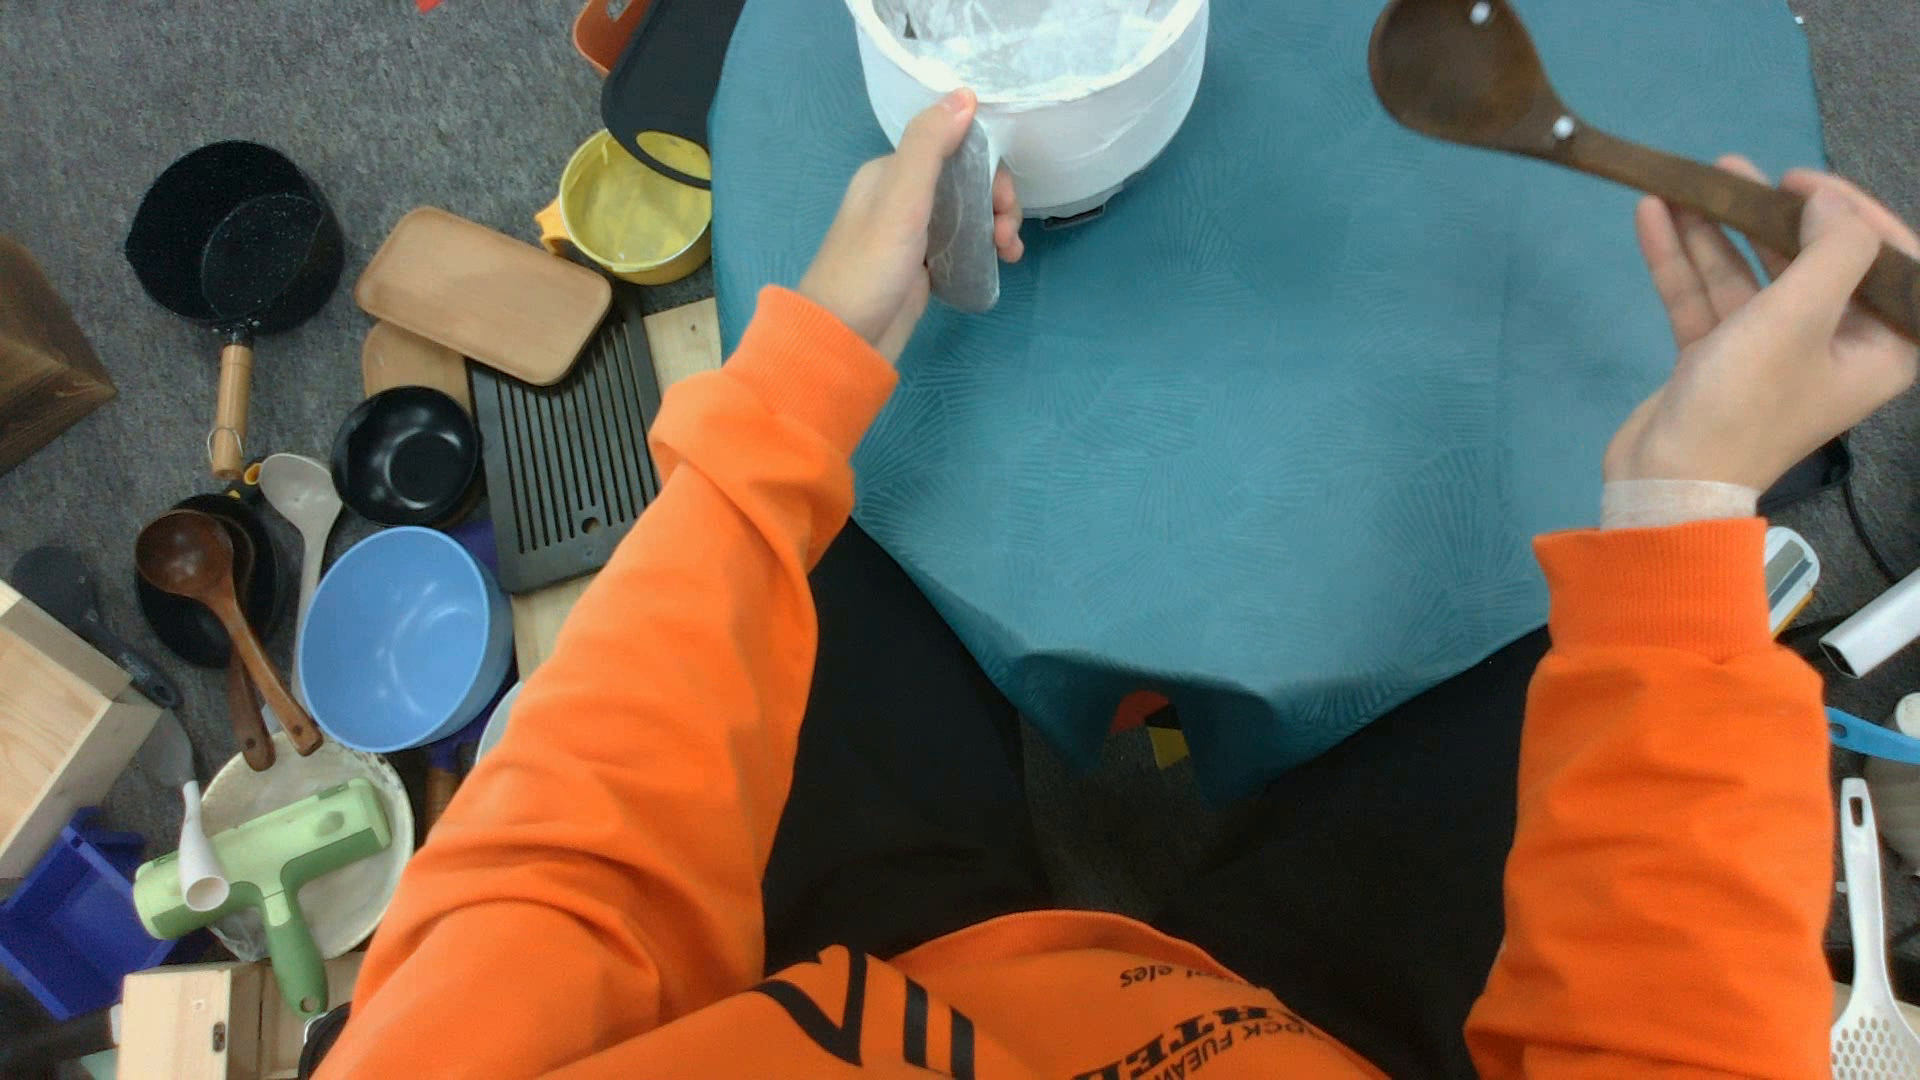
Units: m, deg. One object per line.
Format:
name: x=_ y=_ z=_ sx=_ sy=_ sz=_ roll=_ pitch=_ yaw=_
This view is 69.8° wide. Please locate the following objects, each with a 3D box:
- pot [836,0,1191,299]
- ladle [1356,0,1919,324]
pot: x=0.021 y=-0.241 z=0.671 sx=0.178 sy=0.136 sz=0.234 roll=11 pitch=79 yaw=6
ladle: x=0.261 y=-0.167 z=0.520 sx=0.076 sy=0.071 sz=0.274 roll=-44 pitch=52 yaw=5
